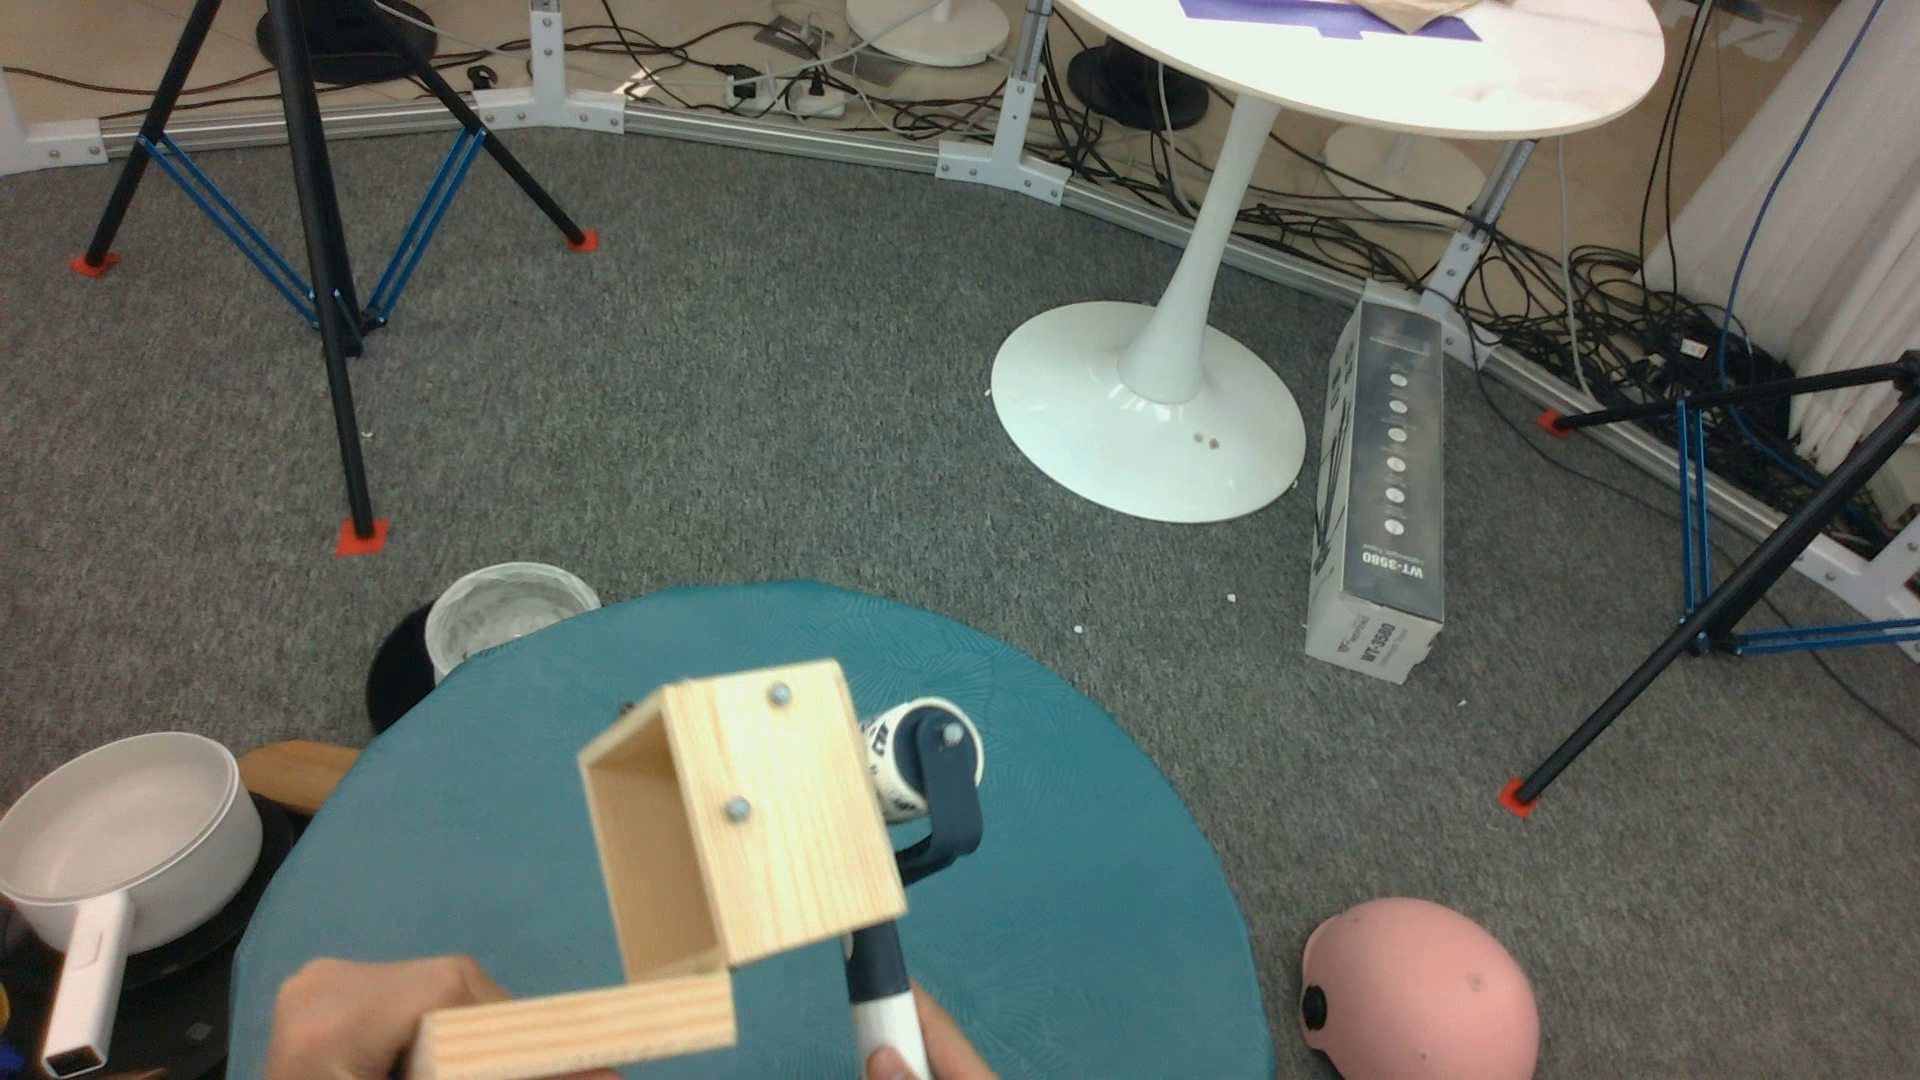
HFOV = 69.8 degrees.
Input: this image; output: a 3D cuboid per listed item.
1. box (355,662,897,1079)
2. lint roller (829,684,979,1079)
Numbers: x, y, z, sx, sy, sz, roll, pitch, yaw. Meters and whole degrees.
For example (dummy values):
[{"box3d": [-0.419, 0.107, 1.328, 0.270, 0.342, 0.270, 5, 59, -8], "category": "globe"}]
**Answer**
[{"box3d": [-0.134, 0.128, 0.529, 0.185, 0.102, 0.134, -5, 72, -37], "category": "box"}, {"box3d": [-0.036, 0.199, 0.596, 0.050, 0.175, 0.247, -4, 76, -38], "category": "lint roller"}]
